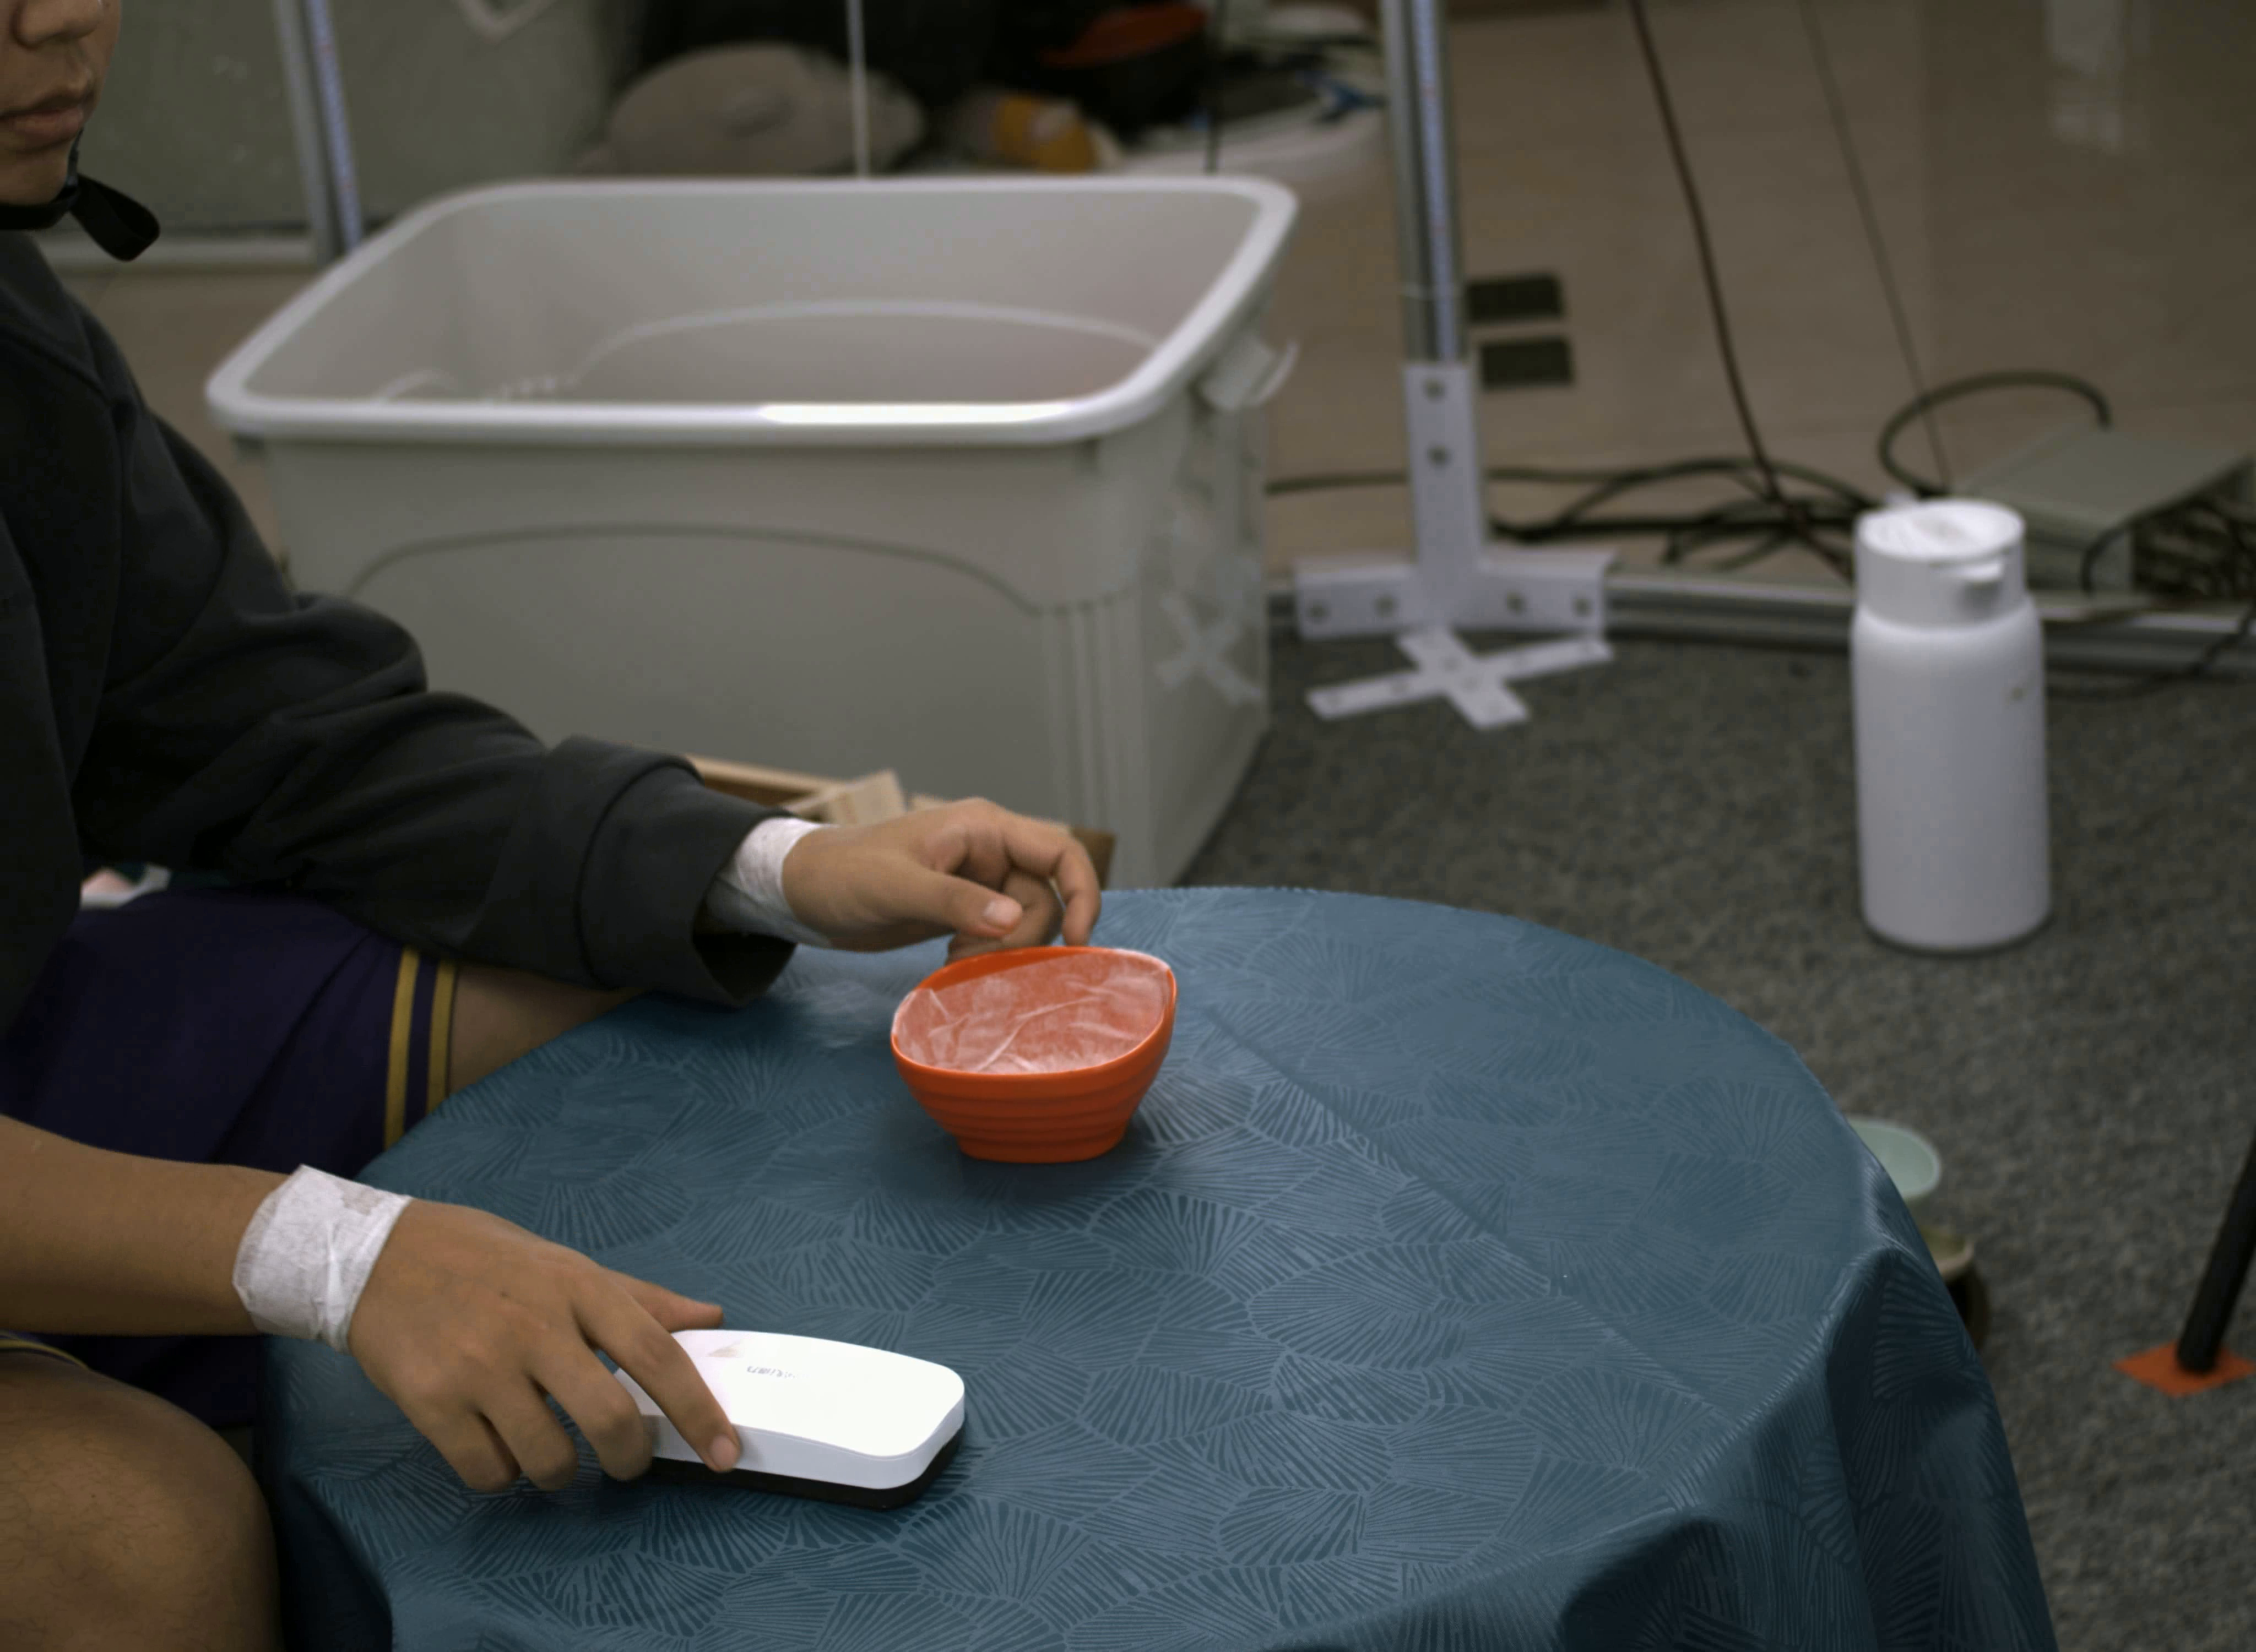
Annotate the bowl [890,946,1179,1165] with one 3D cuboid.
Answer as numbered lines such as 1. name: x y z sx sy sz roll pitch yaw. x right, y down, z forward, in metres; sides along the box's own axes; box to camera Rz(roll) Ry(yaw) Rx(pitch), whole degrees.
1. bowl: -0.033 0.093 2.193 0.119 0.052 0.117 -6 26 3

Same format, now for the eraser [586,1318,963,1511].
1. eraser: -0.123 0.205 1.996 0.131 0.035 0.062 8 27 24
